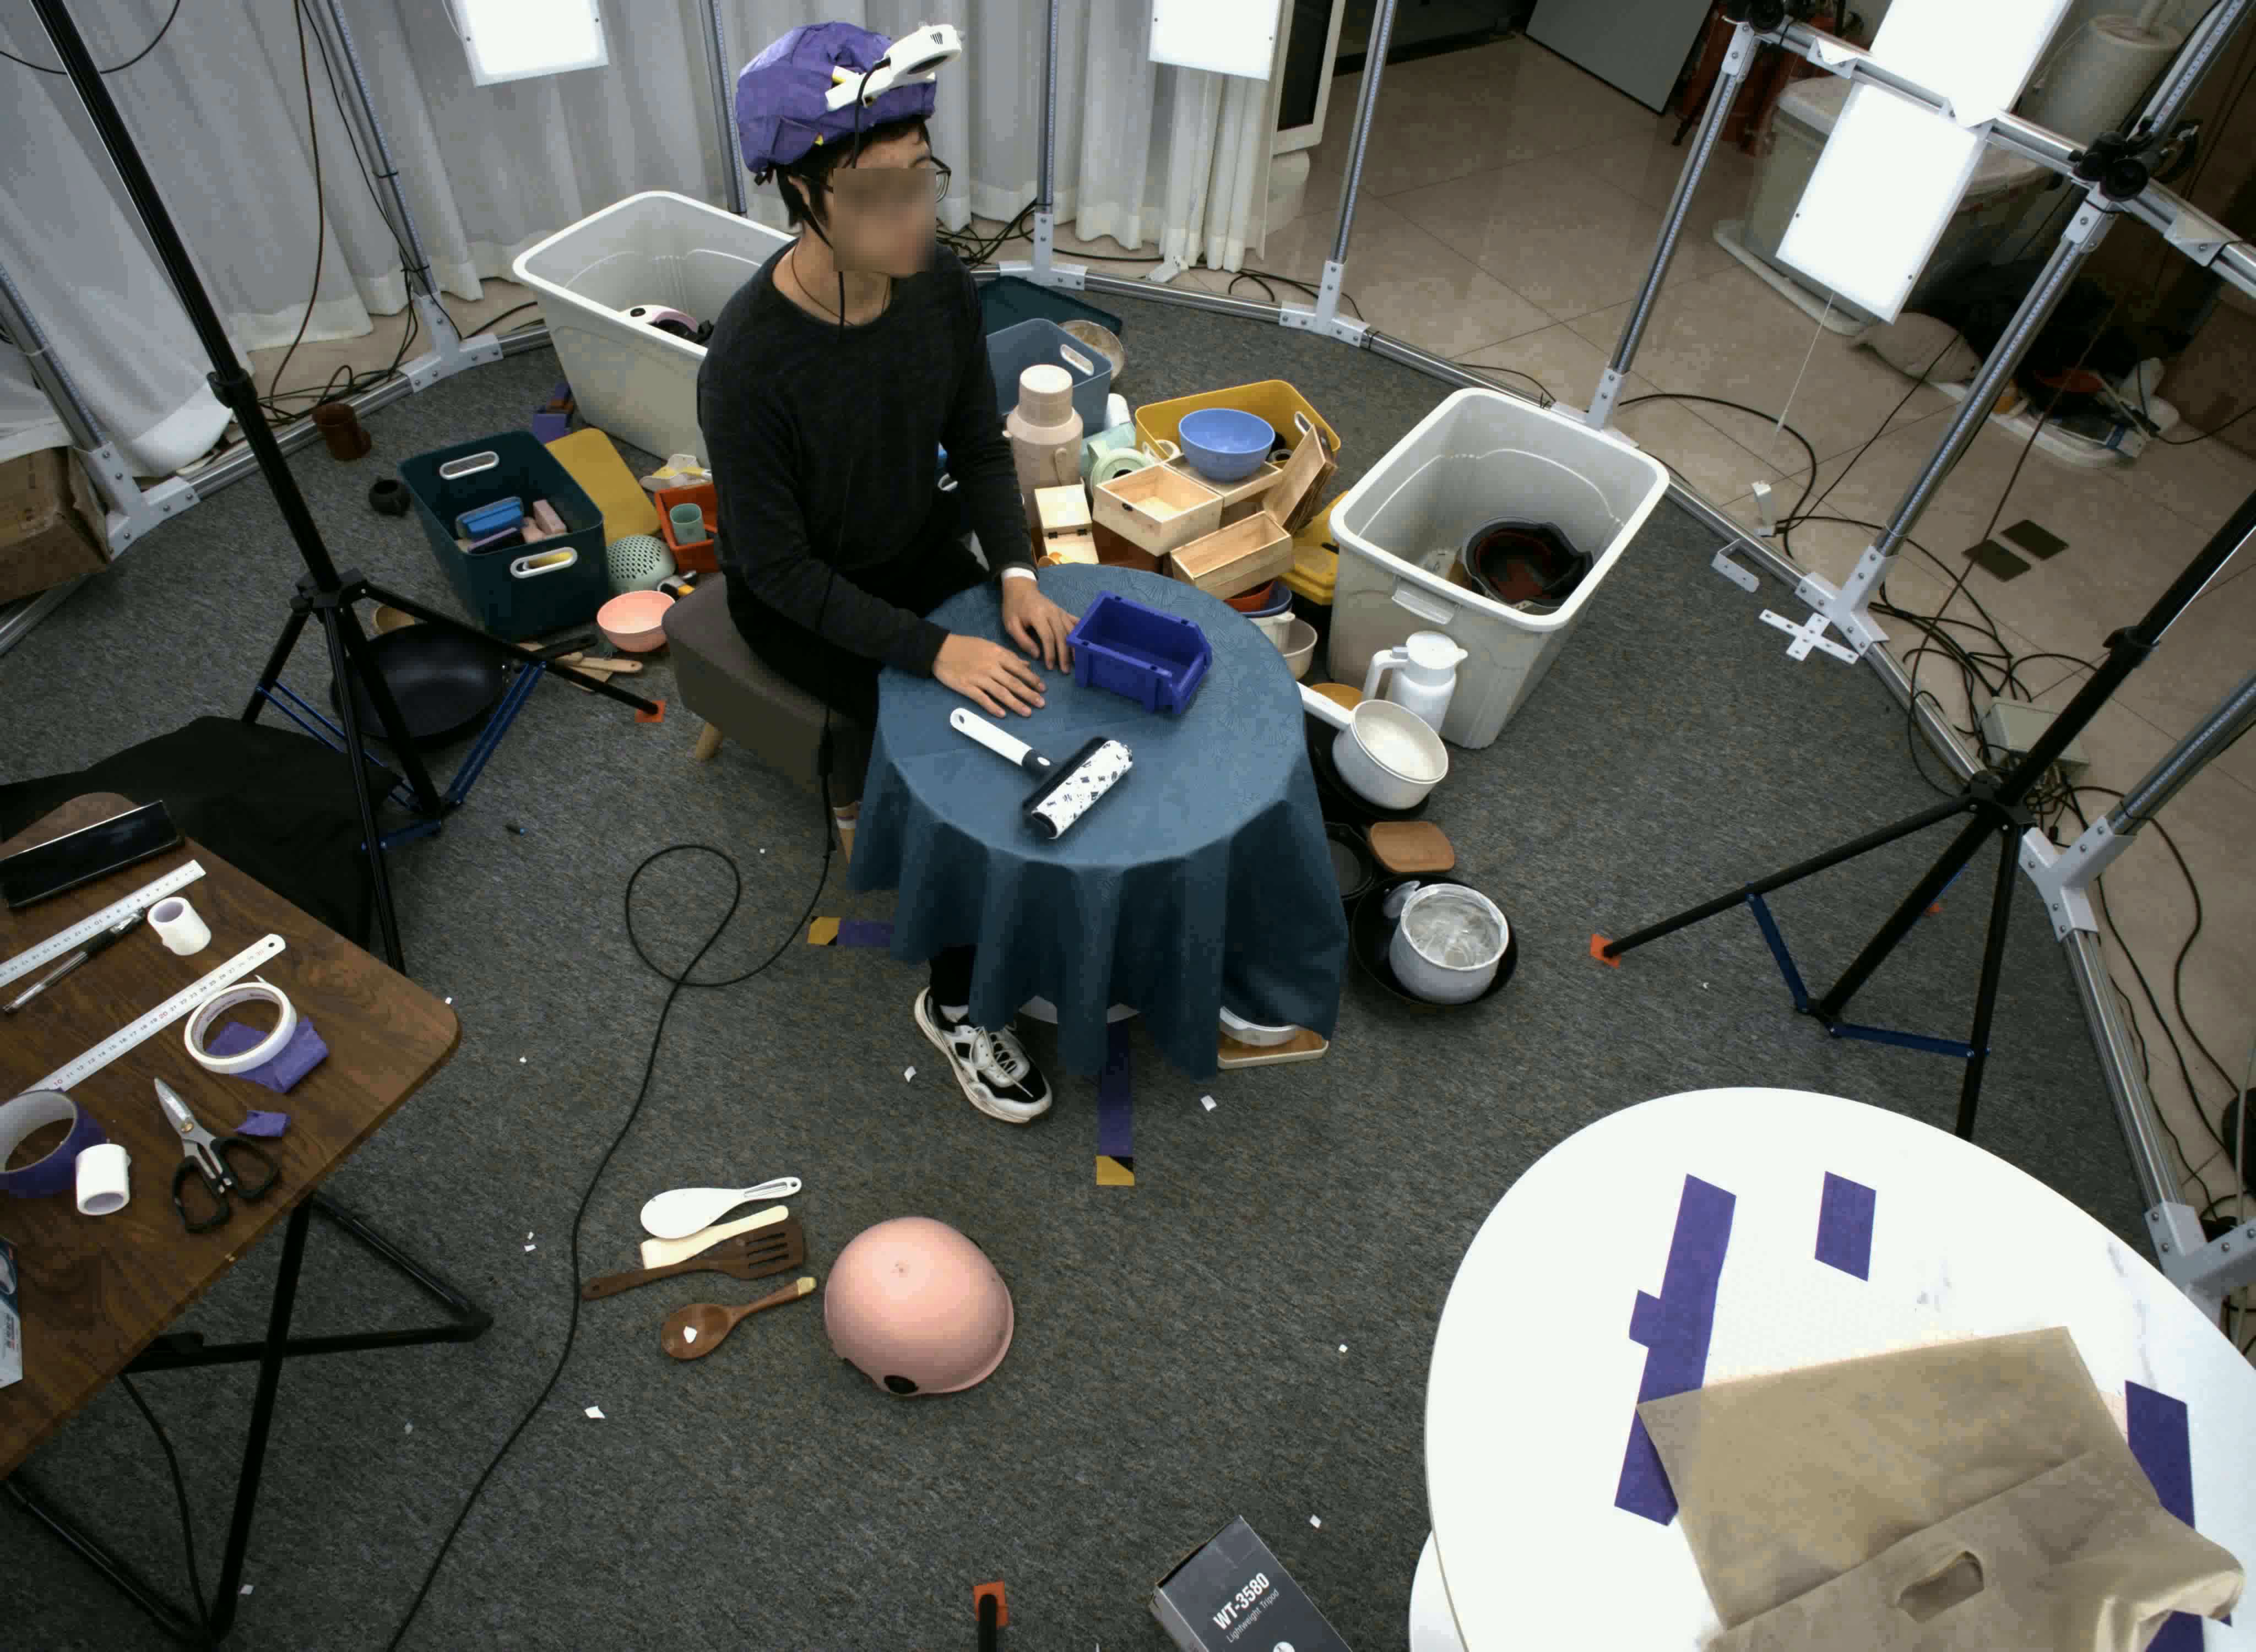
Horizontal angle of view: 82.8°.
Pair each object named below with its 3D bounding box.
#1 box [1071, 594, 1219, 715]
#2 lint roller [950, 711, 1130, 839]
[{"bbox_3d":[0.027,-0.242,1.829,0.180,0.080,0.126,21,51,17],"label":"box"},{"bbox_3d":[-0.142,-0.096,1.716,0.250,0.049,0.178,30,55,22],"label":"lint roller"}]
